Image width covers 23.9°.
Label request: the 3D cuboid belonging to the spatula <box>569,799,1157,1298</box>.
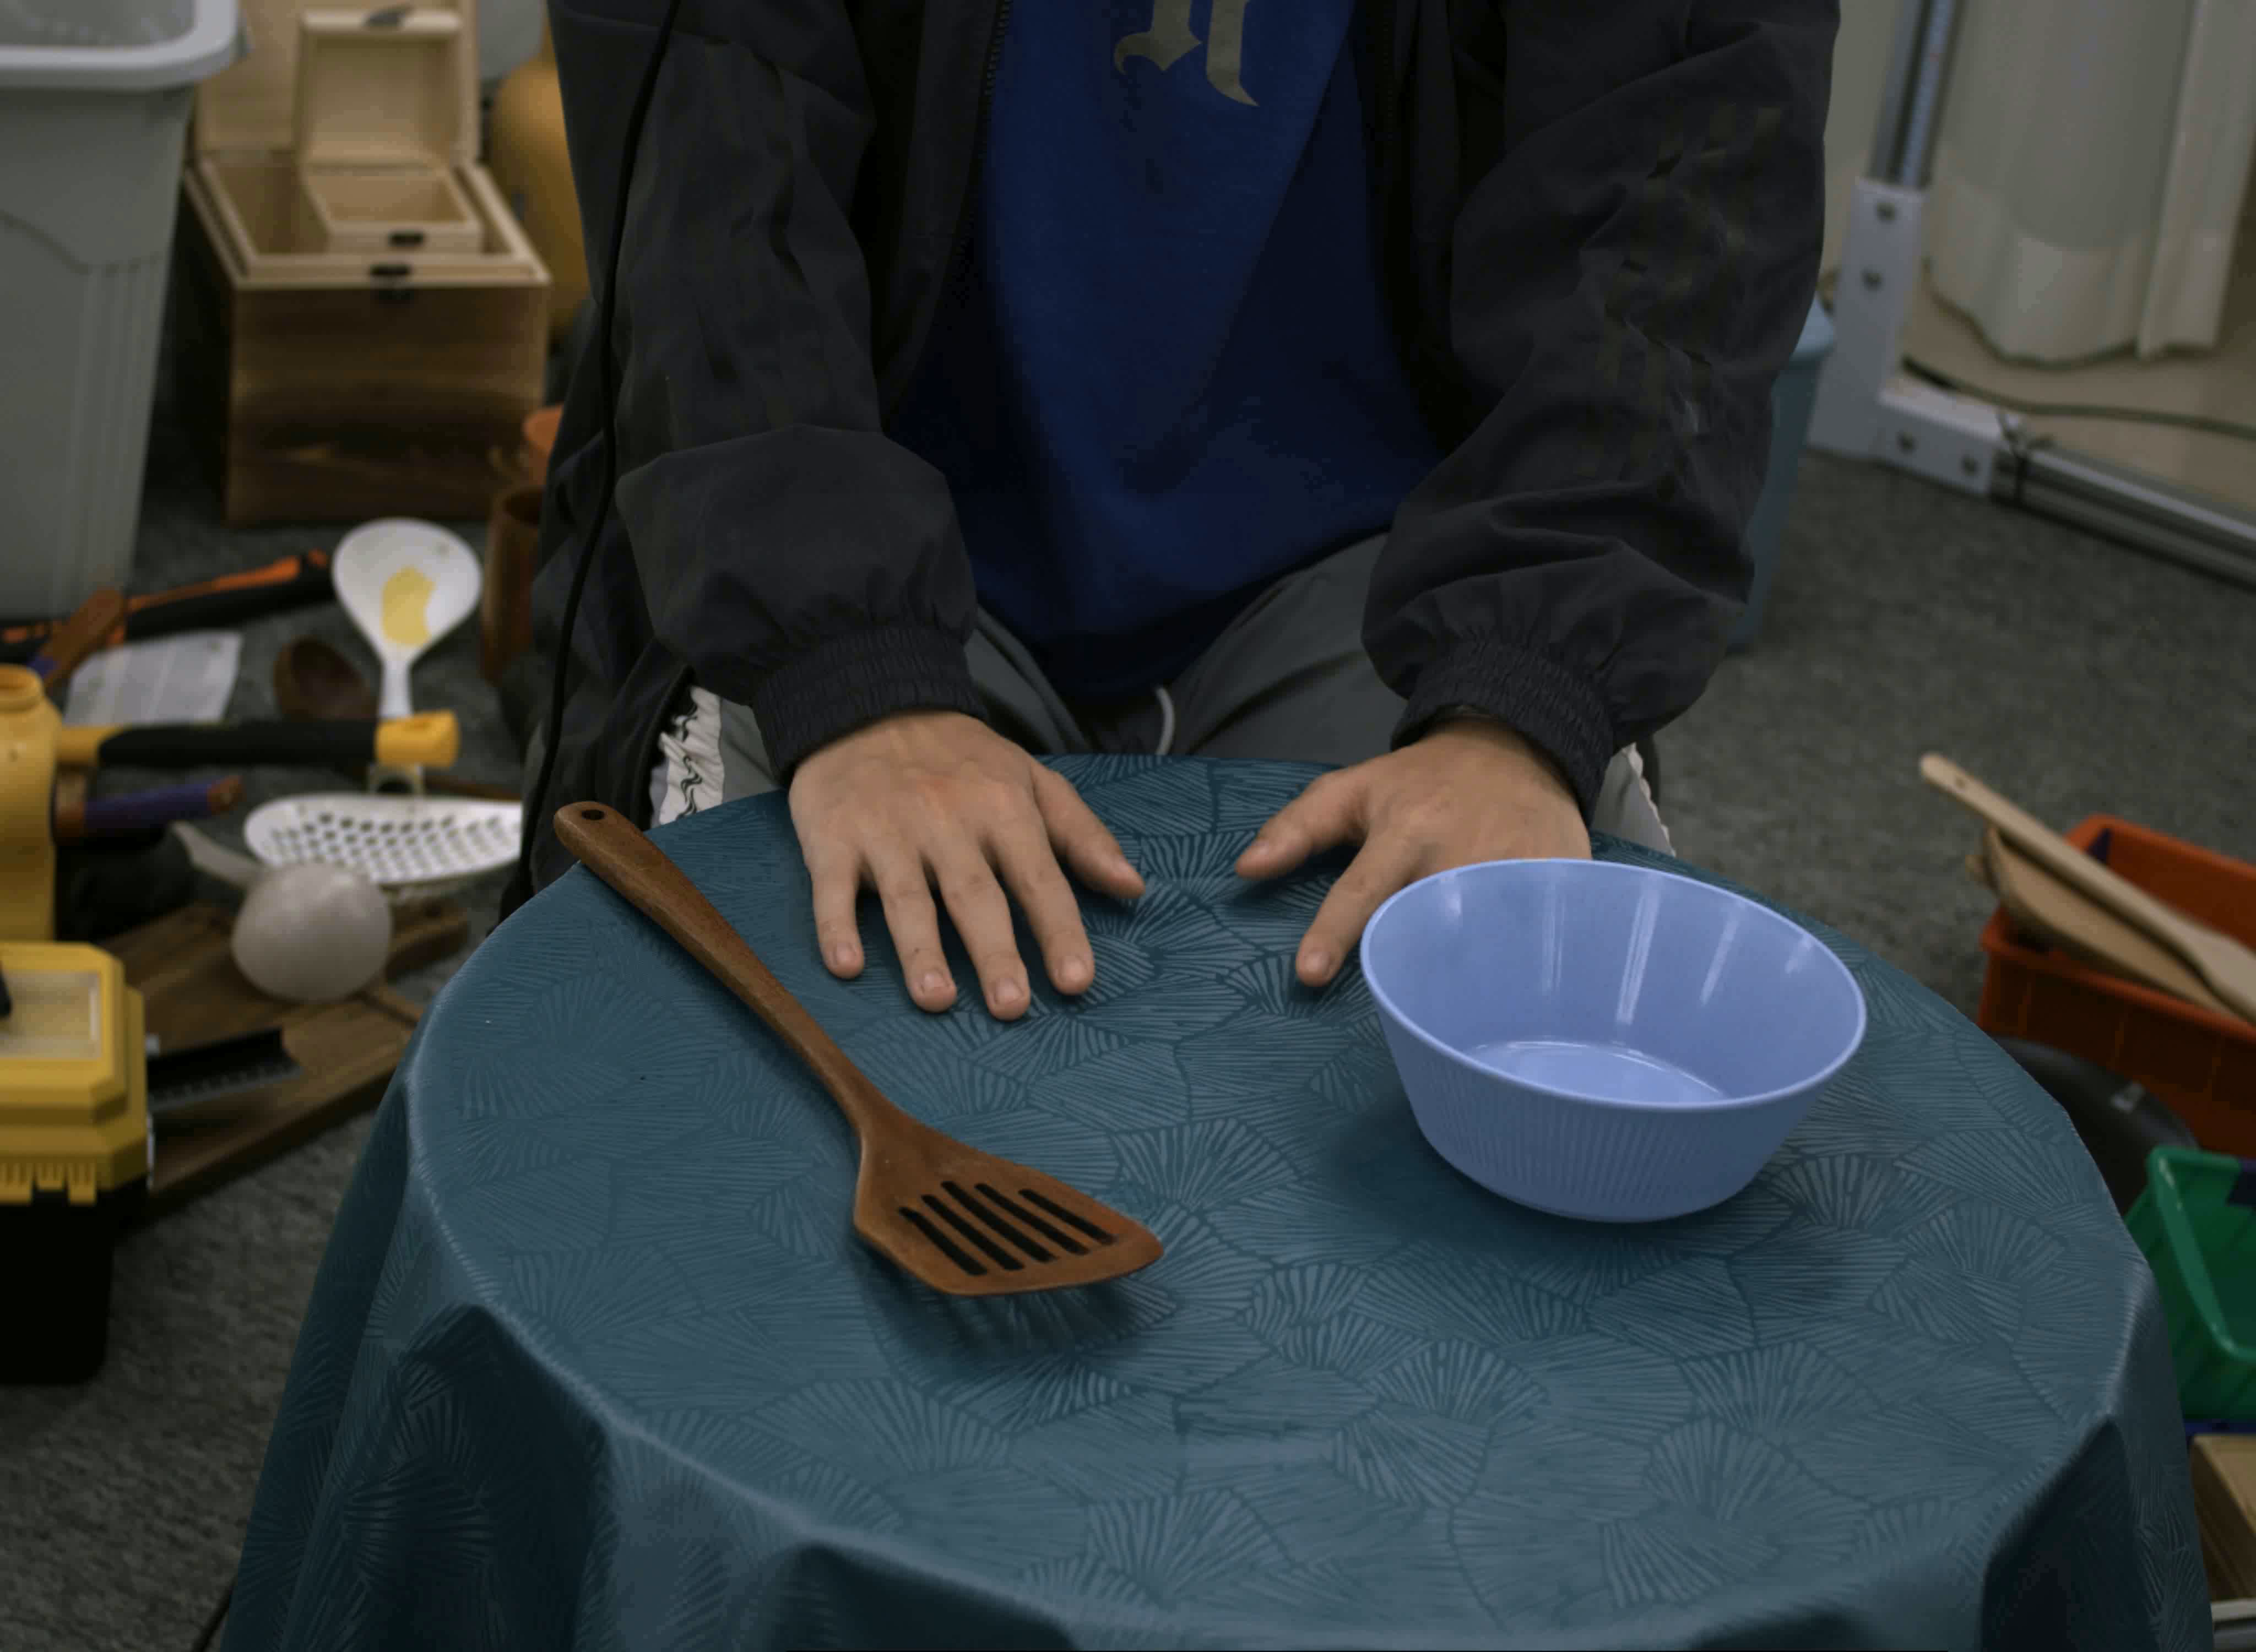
[{"bbox_3d":[-0.112,0.075,1.852,0.085,0.024,0.390,-8,29,-28],"label":"spatula"}]

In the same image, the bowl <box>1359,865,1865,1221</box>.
[{"bbox_3d":[0.163,0.081,1.847,0.175,0.070,0.177,5,25,-3],"label":"bowl"}]
